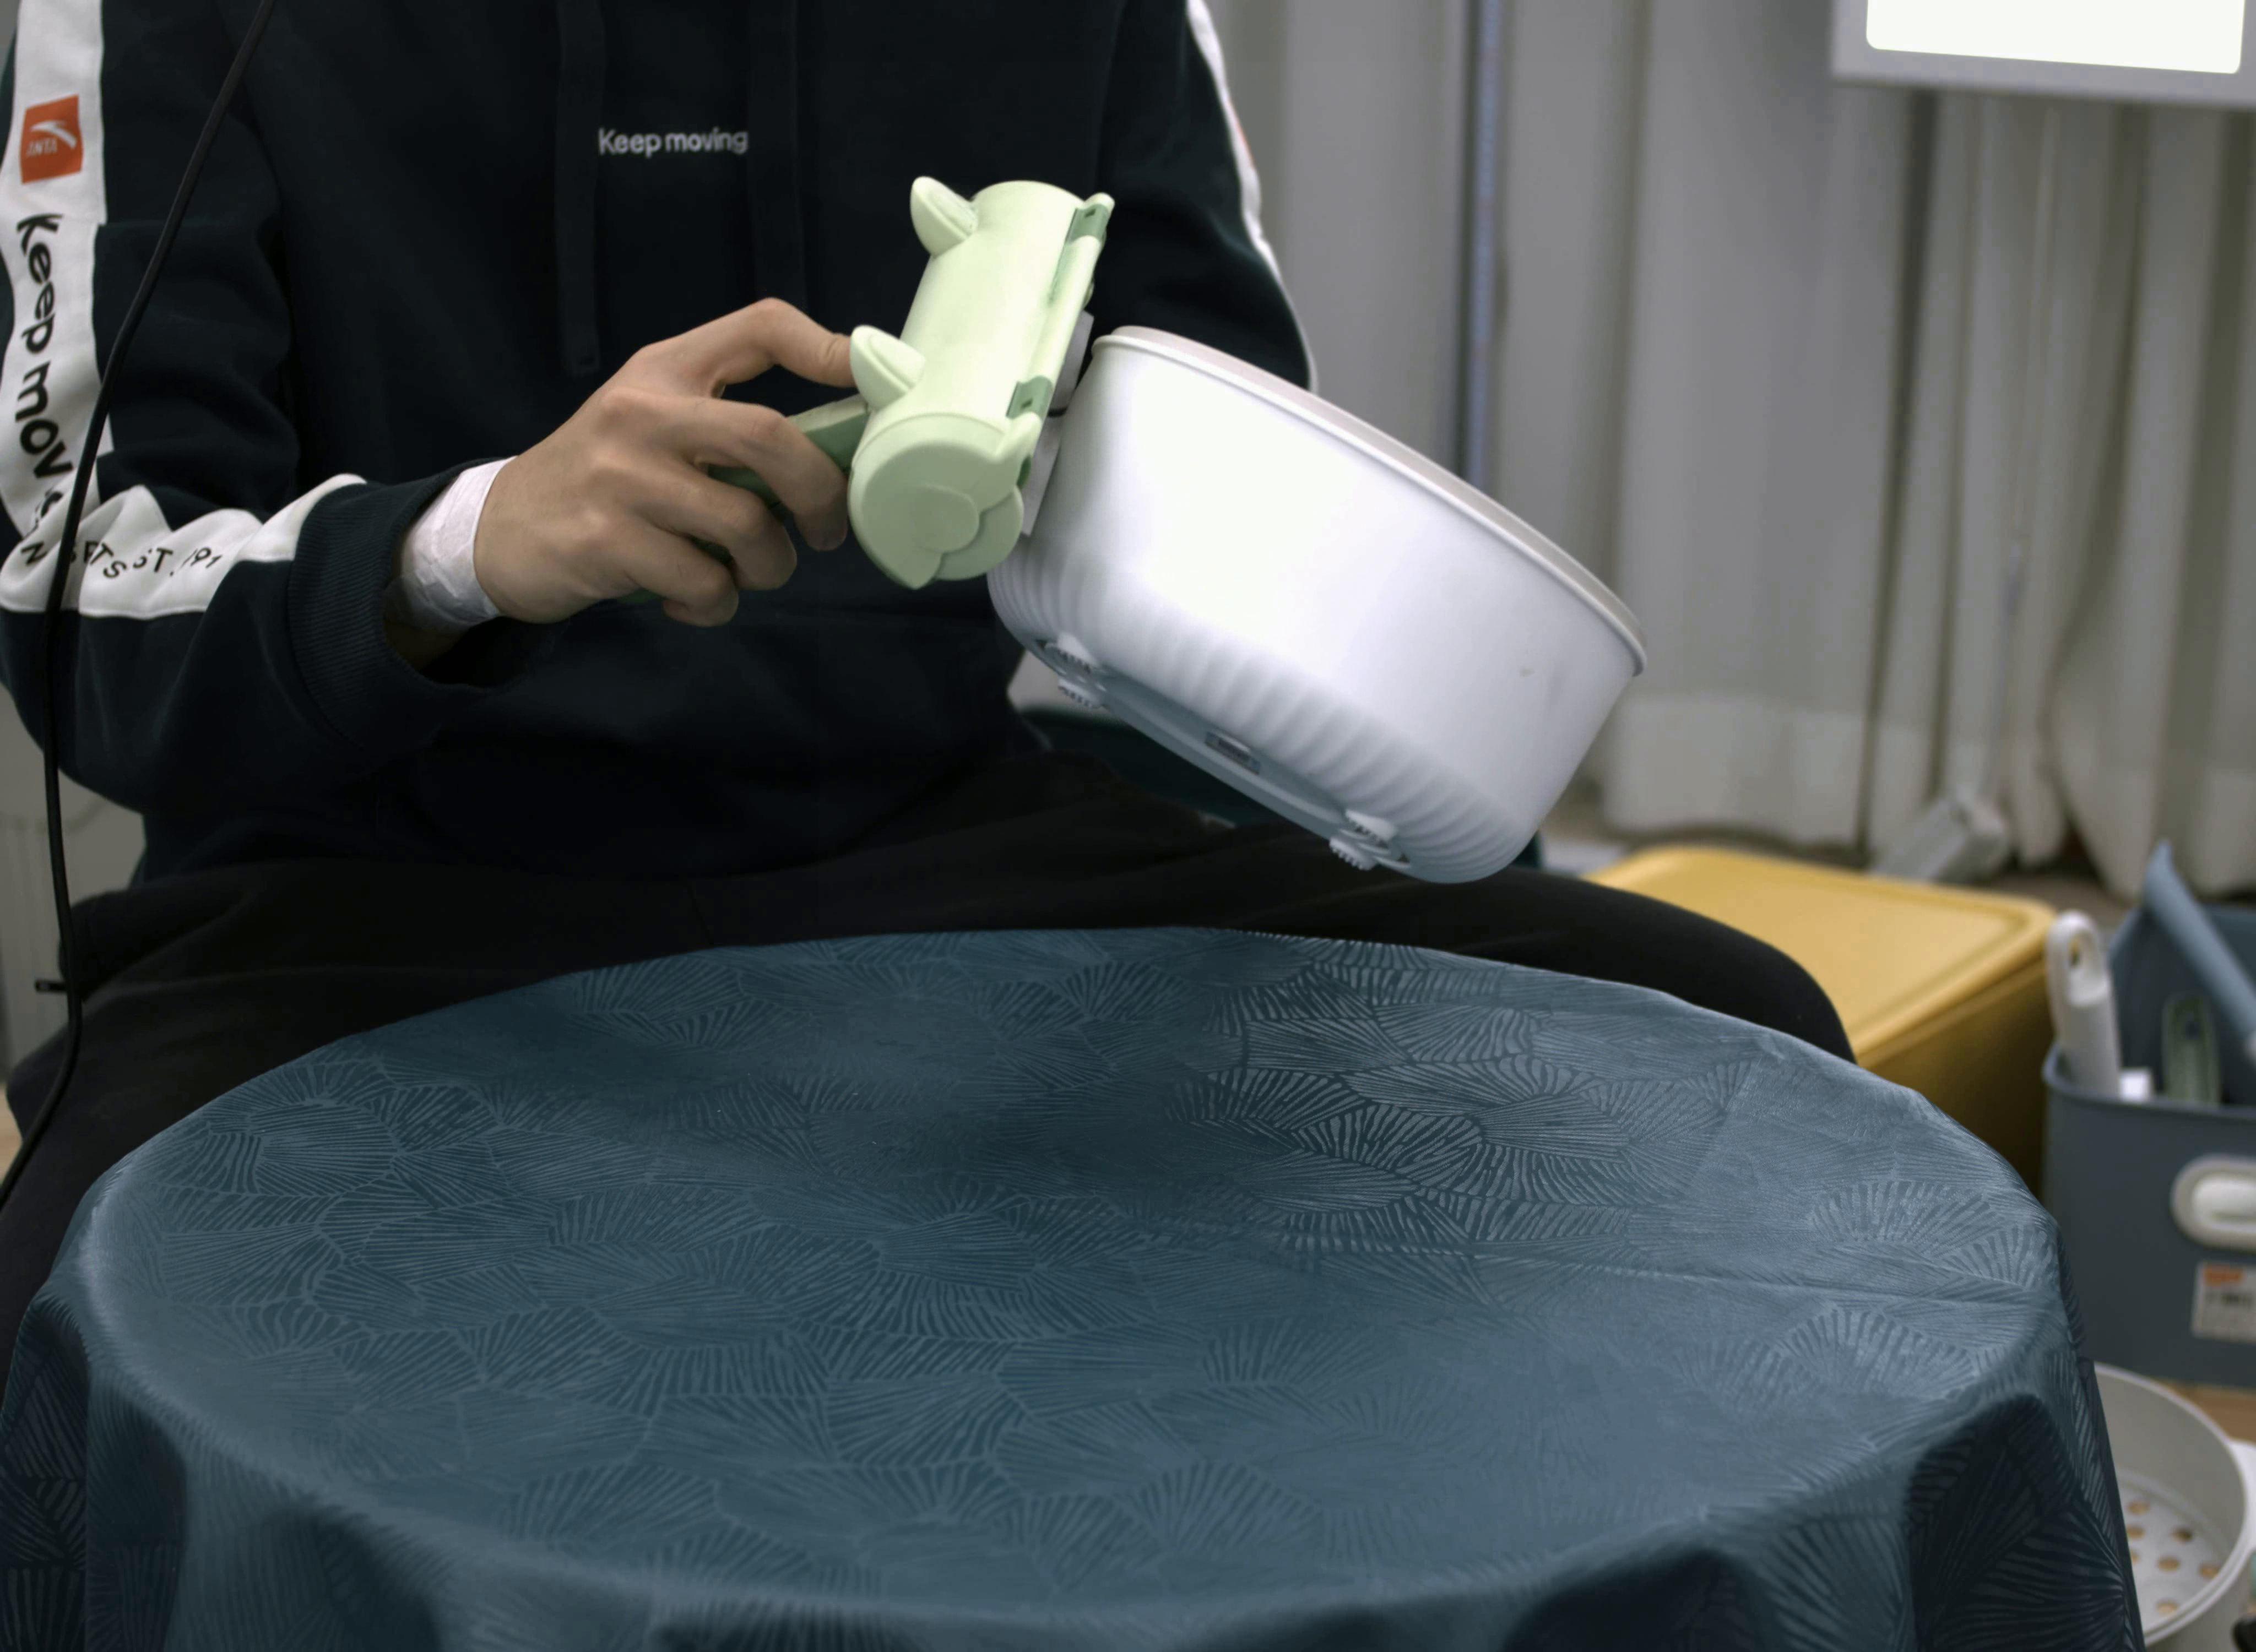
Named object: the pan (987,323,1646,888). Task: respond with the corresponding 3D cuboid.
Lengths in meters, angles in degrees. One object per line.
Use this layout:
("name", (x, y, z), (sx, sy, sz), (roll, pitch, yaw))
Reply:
("pan", (0.054, -0.054, 1.724), (0.200, 0.102, 0.355), (31, -5, 3))

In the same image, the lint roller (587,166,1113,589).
("lint roller", (-0.099, -0.133, 1.635), (0.182, 0.083, 0.197), (-16, 26, 16))
